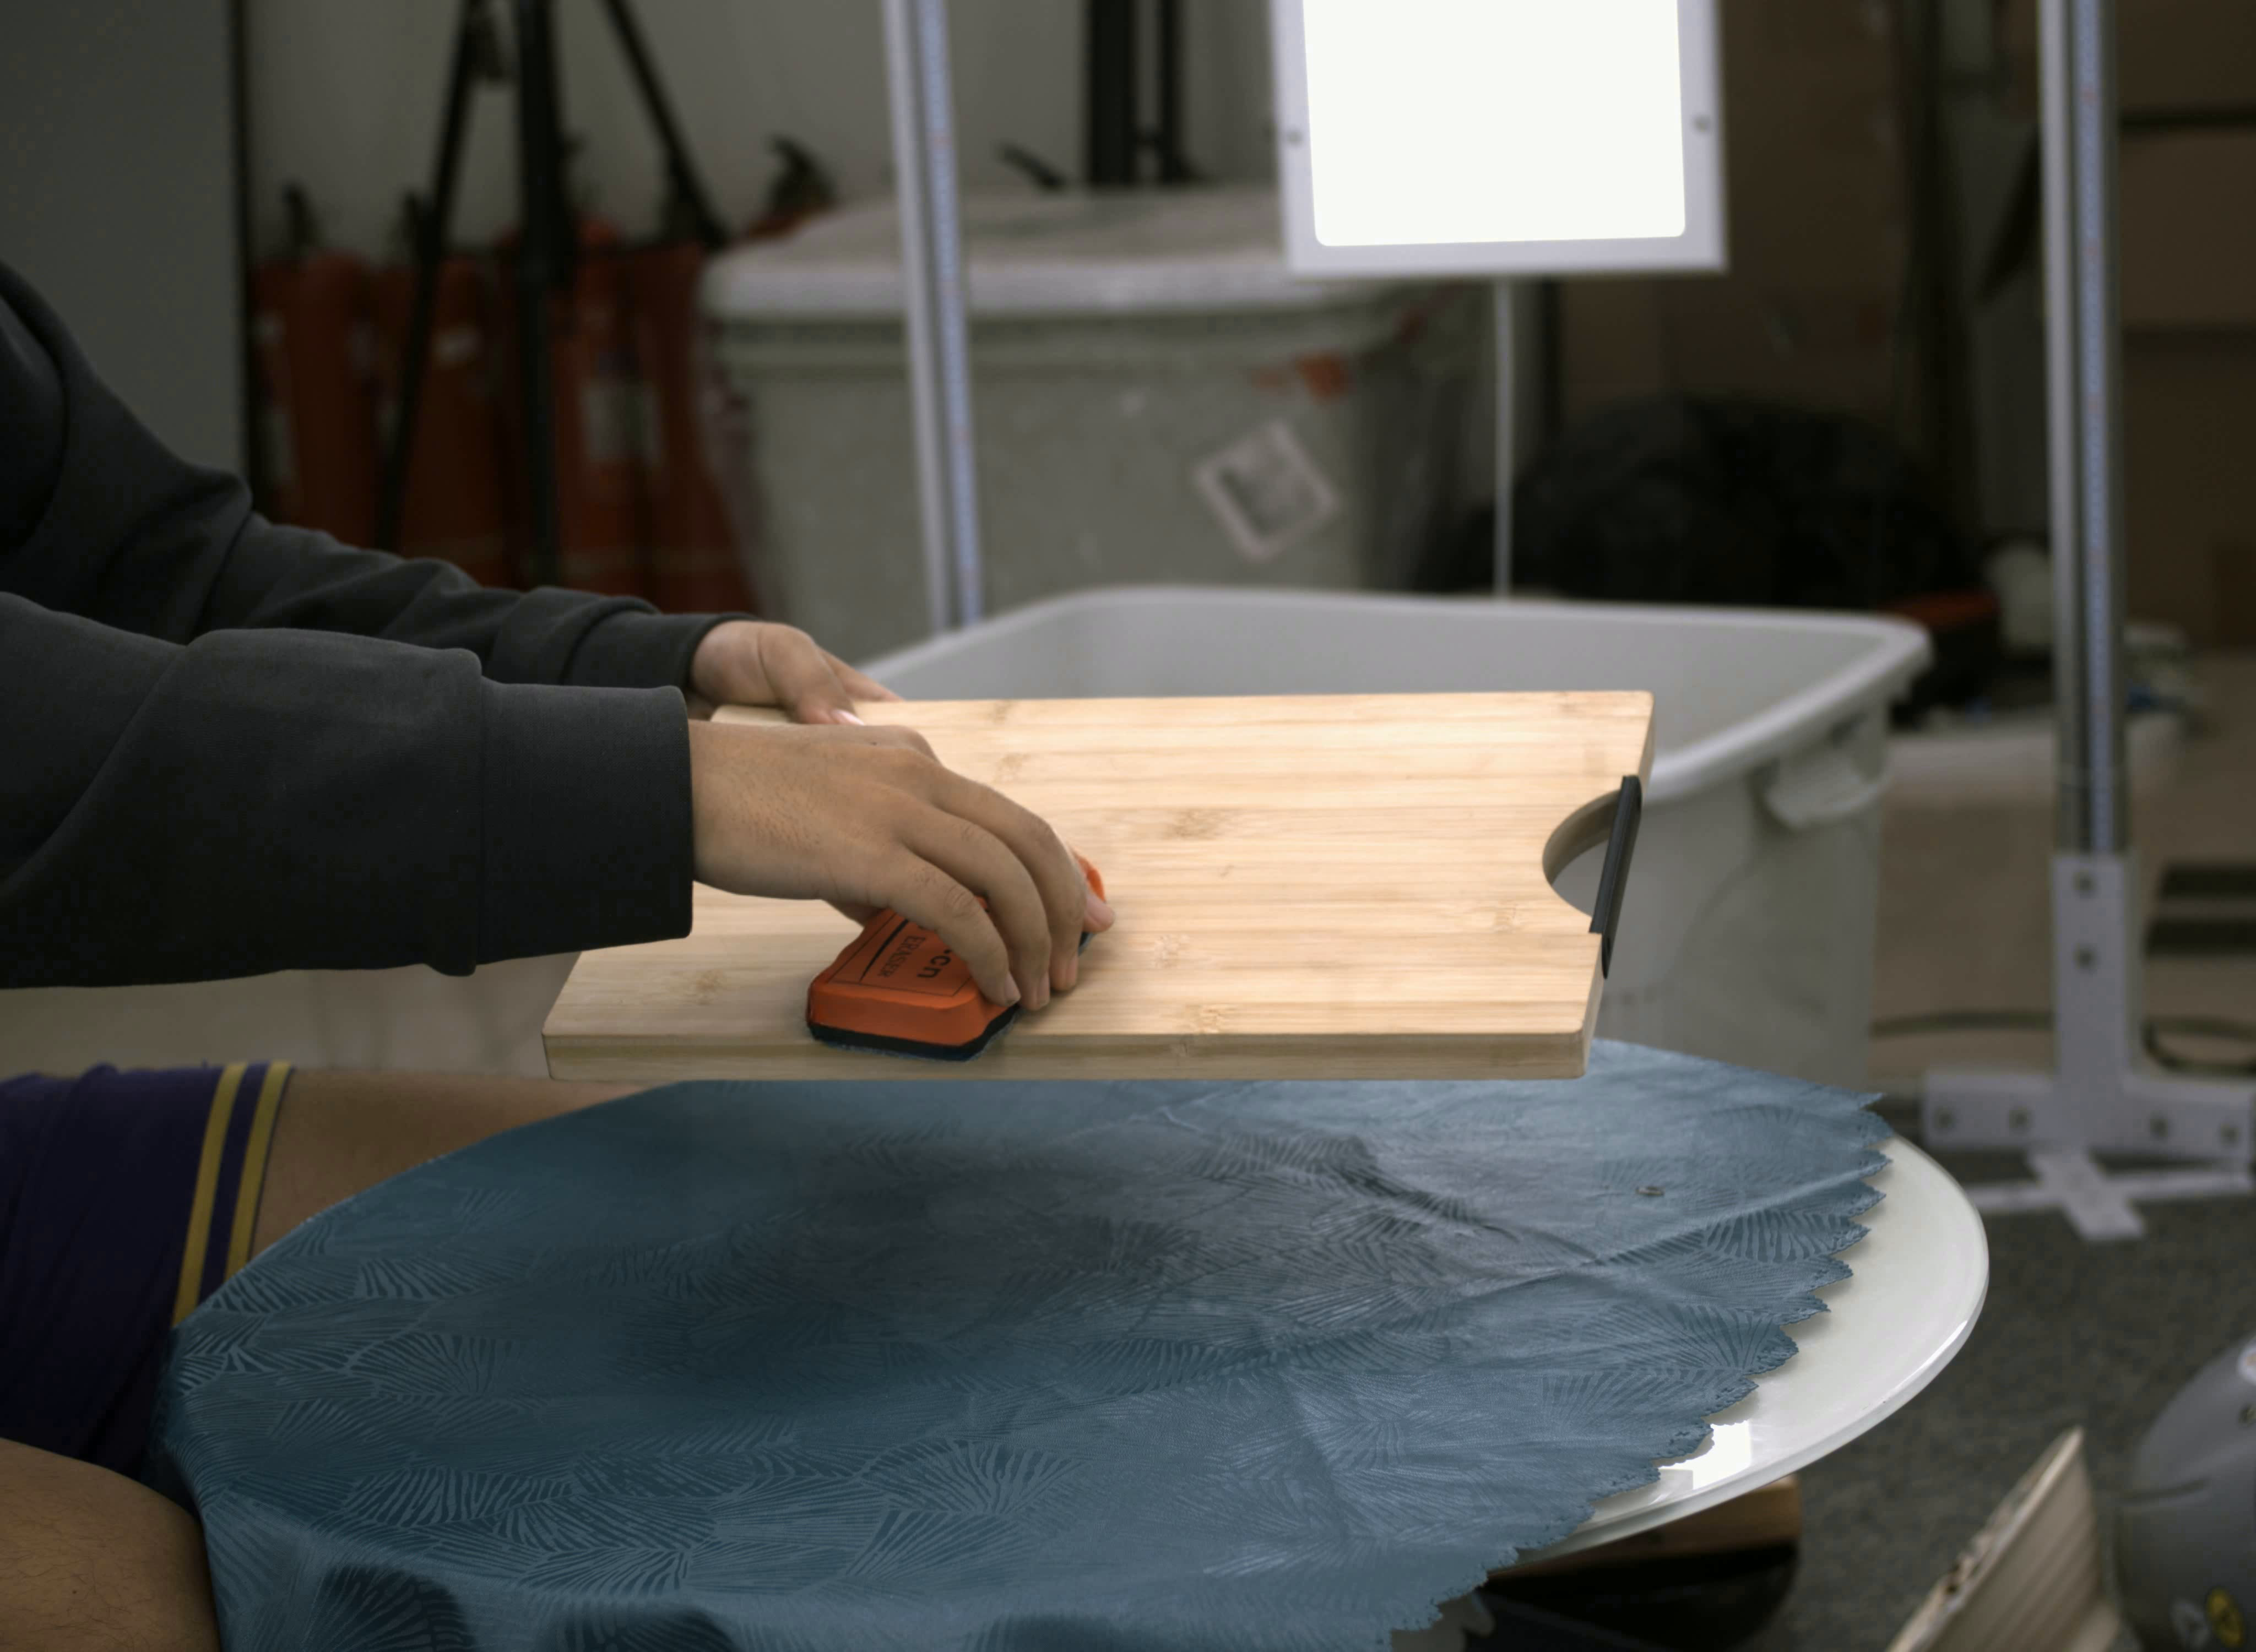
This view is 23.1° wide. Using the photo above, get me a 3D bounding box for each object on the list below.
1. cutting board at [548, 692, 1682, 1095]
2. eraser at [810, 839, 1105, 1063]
[{"bbox_3d":[0.003,0.019,1.842,0.351,0.023,0.248,-1,28,13],"label":"cutting board"},{"bbox_3d":[-0.054,0.039,1.772,0.060,0.023,0.106,6,30,27],"label":"eraser"}]
